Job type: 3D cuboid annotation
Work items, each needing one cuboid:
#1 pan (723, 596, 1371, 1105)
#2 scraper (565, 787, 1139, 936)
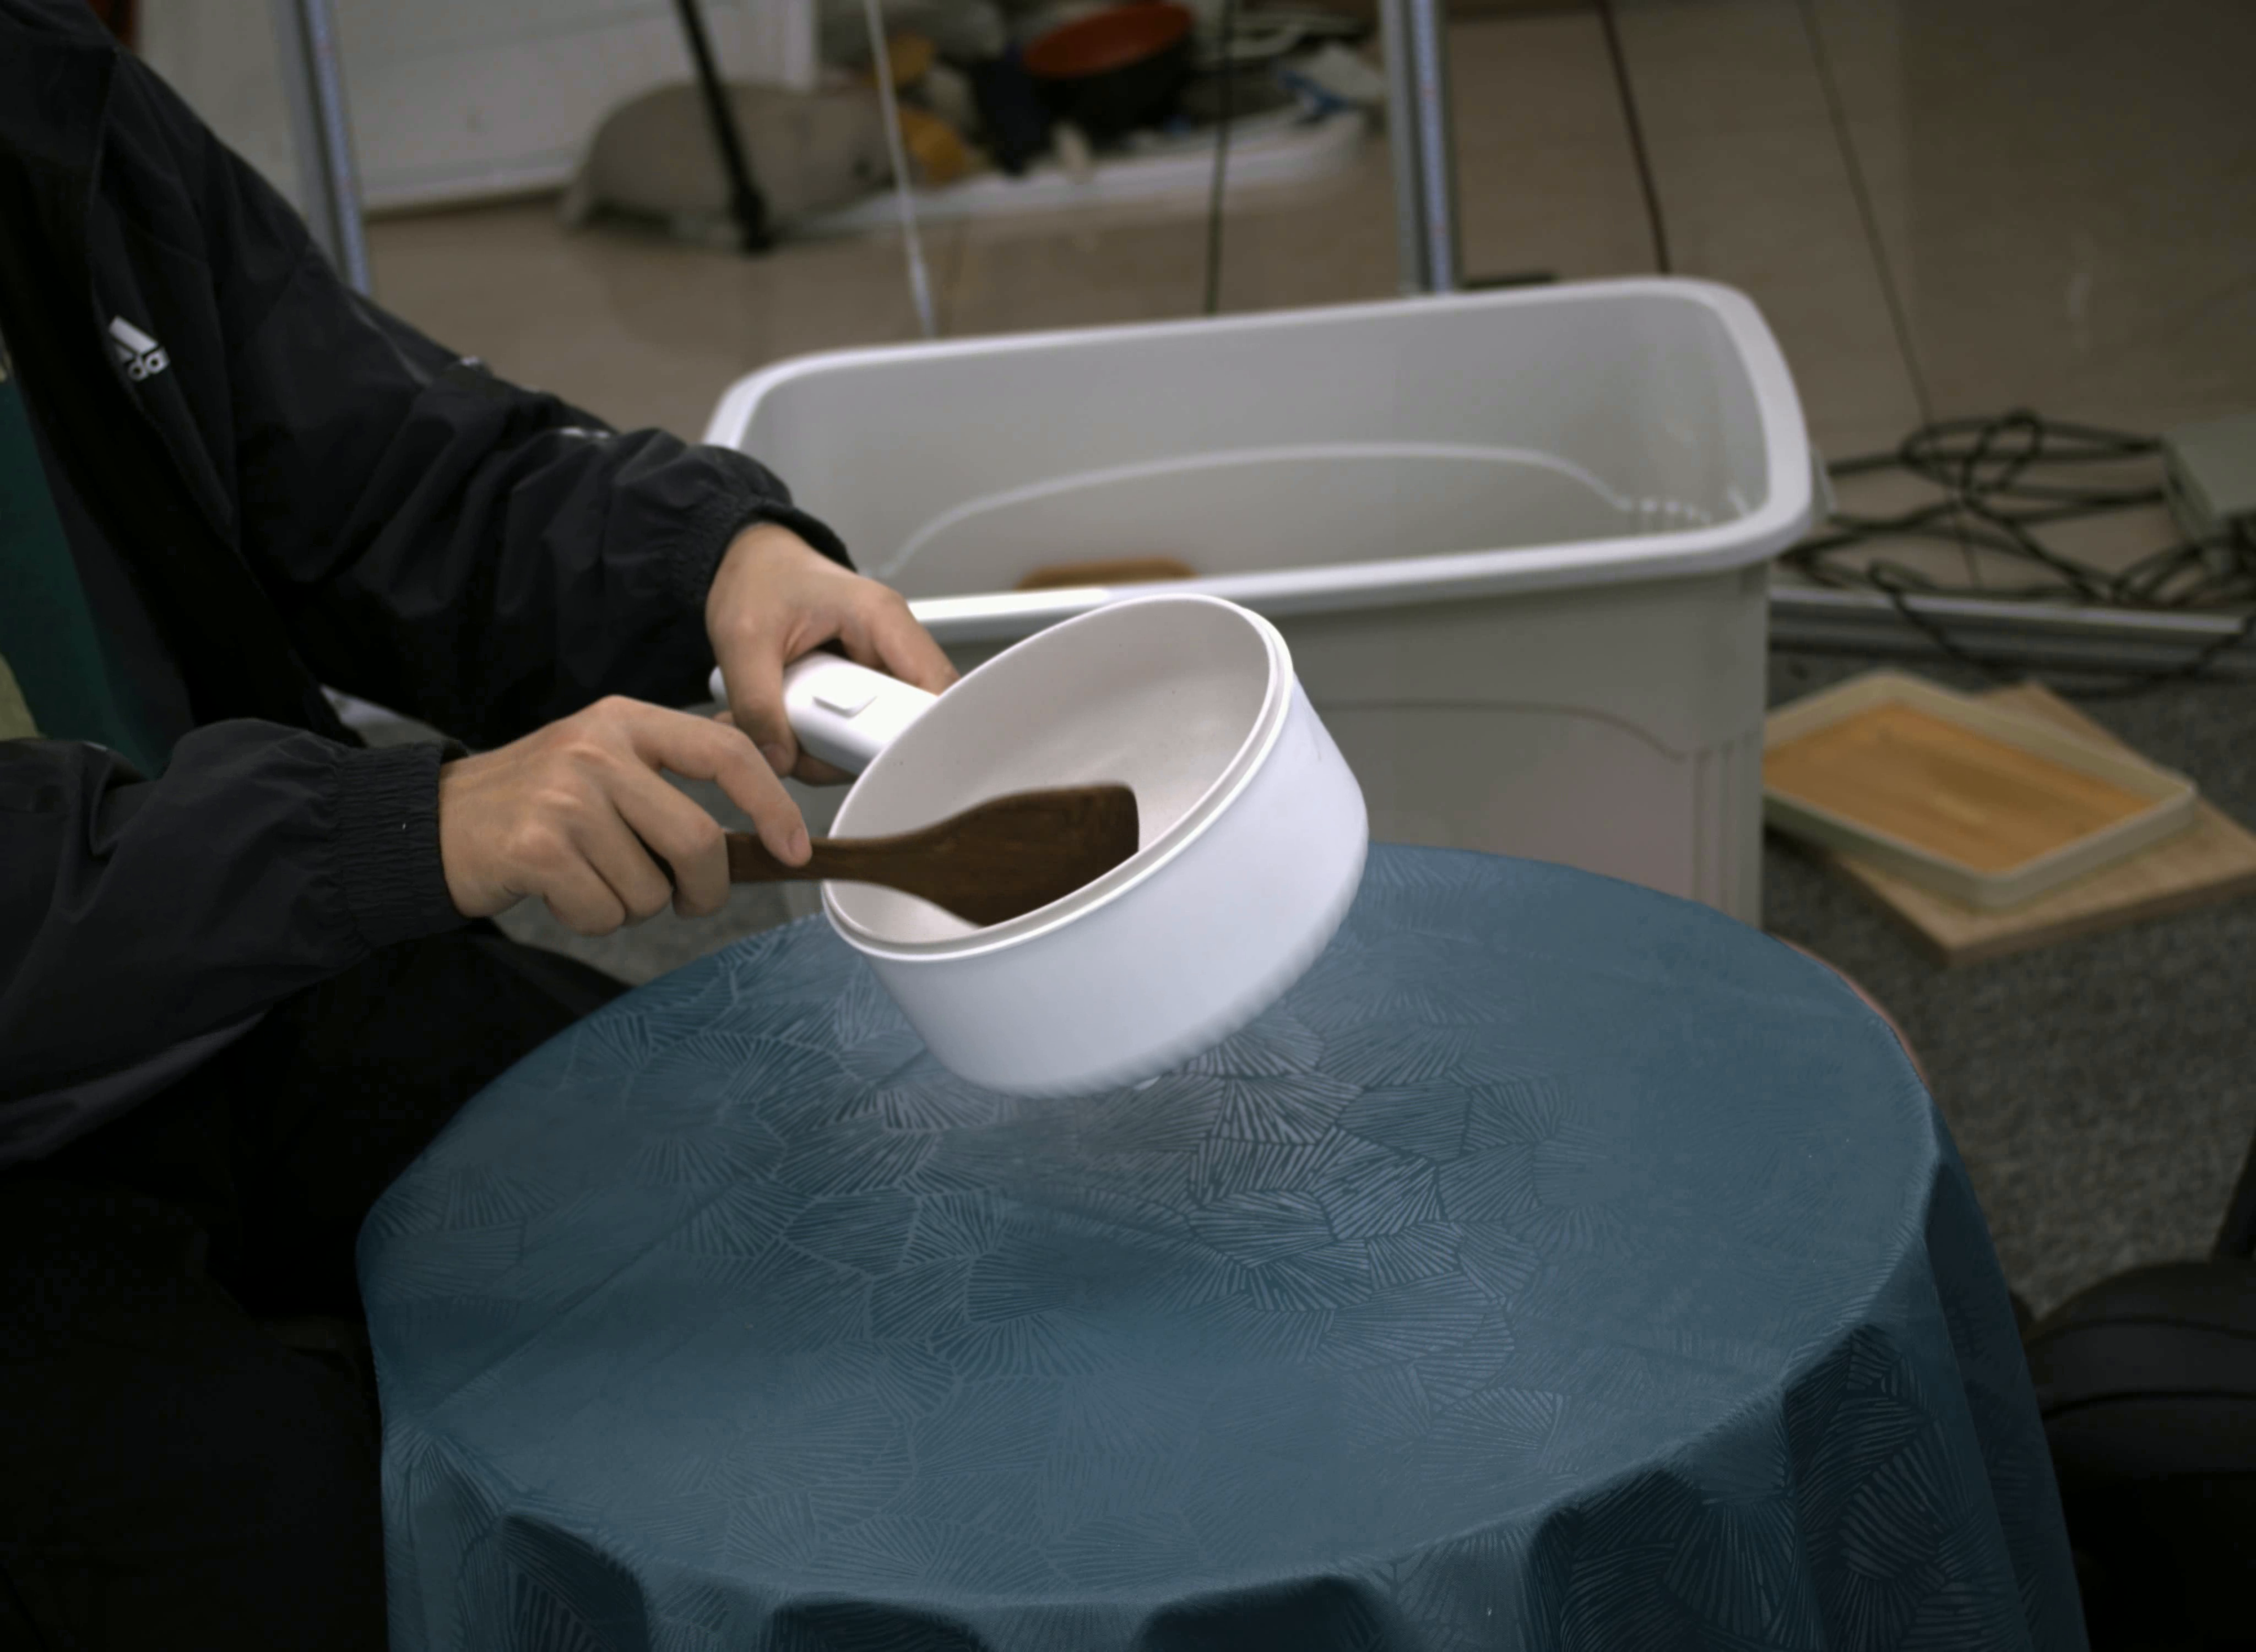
[{"bbox_3d":[-0.046,0.000,2.213,0.200,0.103,0.352,-44,30,-16],"label":"pan"},{"bbox_3d":[-0.101,0.016,2.083,0.211,0.077,0.010,1,40,-4],"label":"scraper"}]
